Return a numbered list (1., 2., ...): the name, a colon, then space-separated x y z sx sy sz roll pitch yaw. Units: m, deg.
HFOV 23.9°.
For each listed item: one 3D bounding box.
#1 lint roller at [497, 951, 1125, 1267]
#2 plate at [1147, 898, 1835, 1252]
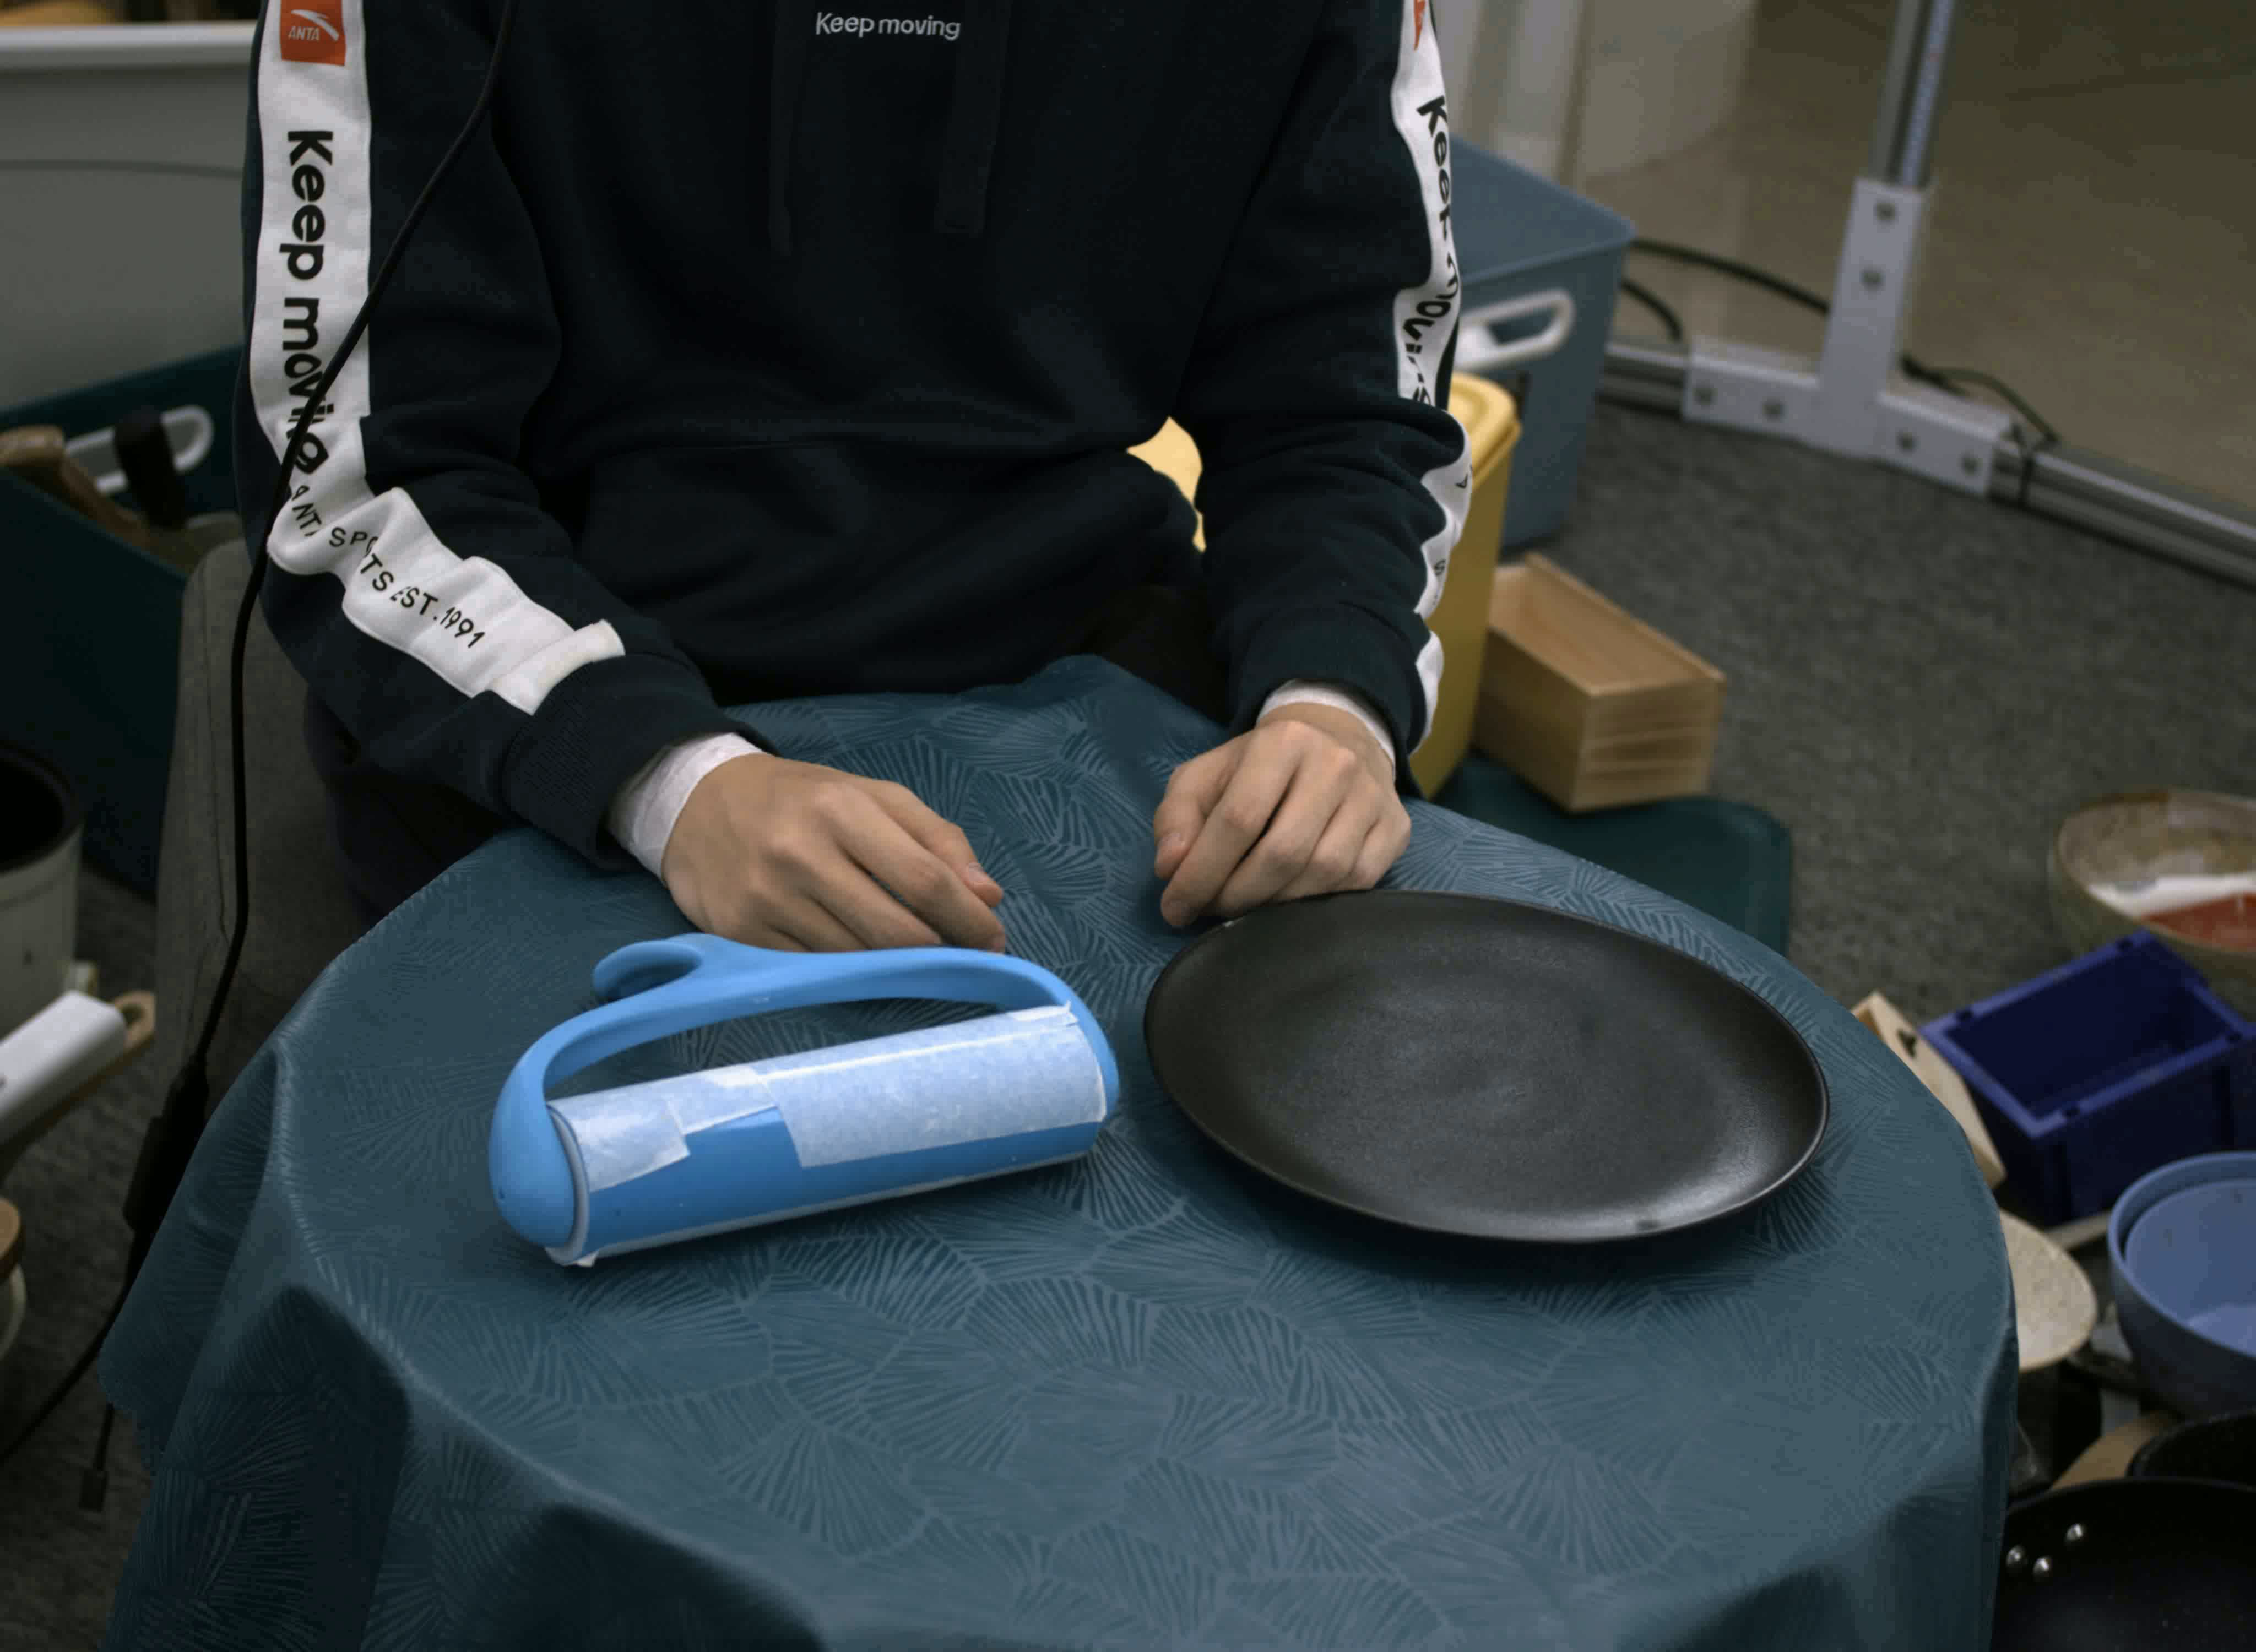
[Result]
1. lint roller: -0.134 0.076 1.801 0.227 0.068 0.182 -12 31 -31
2. plate: 0.126 0.091 1.867 0.243 0.023 0.246 5 26 -3
